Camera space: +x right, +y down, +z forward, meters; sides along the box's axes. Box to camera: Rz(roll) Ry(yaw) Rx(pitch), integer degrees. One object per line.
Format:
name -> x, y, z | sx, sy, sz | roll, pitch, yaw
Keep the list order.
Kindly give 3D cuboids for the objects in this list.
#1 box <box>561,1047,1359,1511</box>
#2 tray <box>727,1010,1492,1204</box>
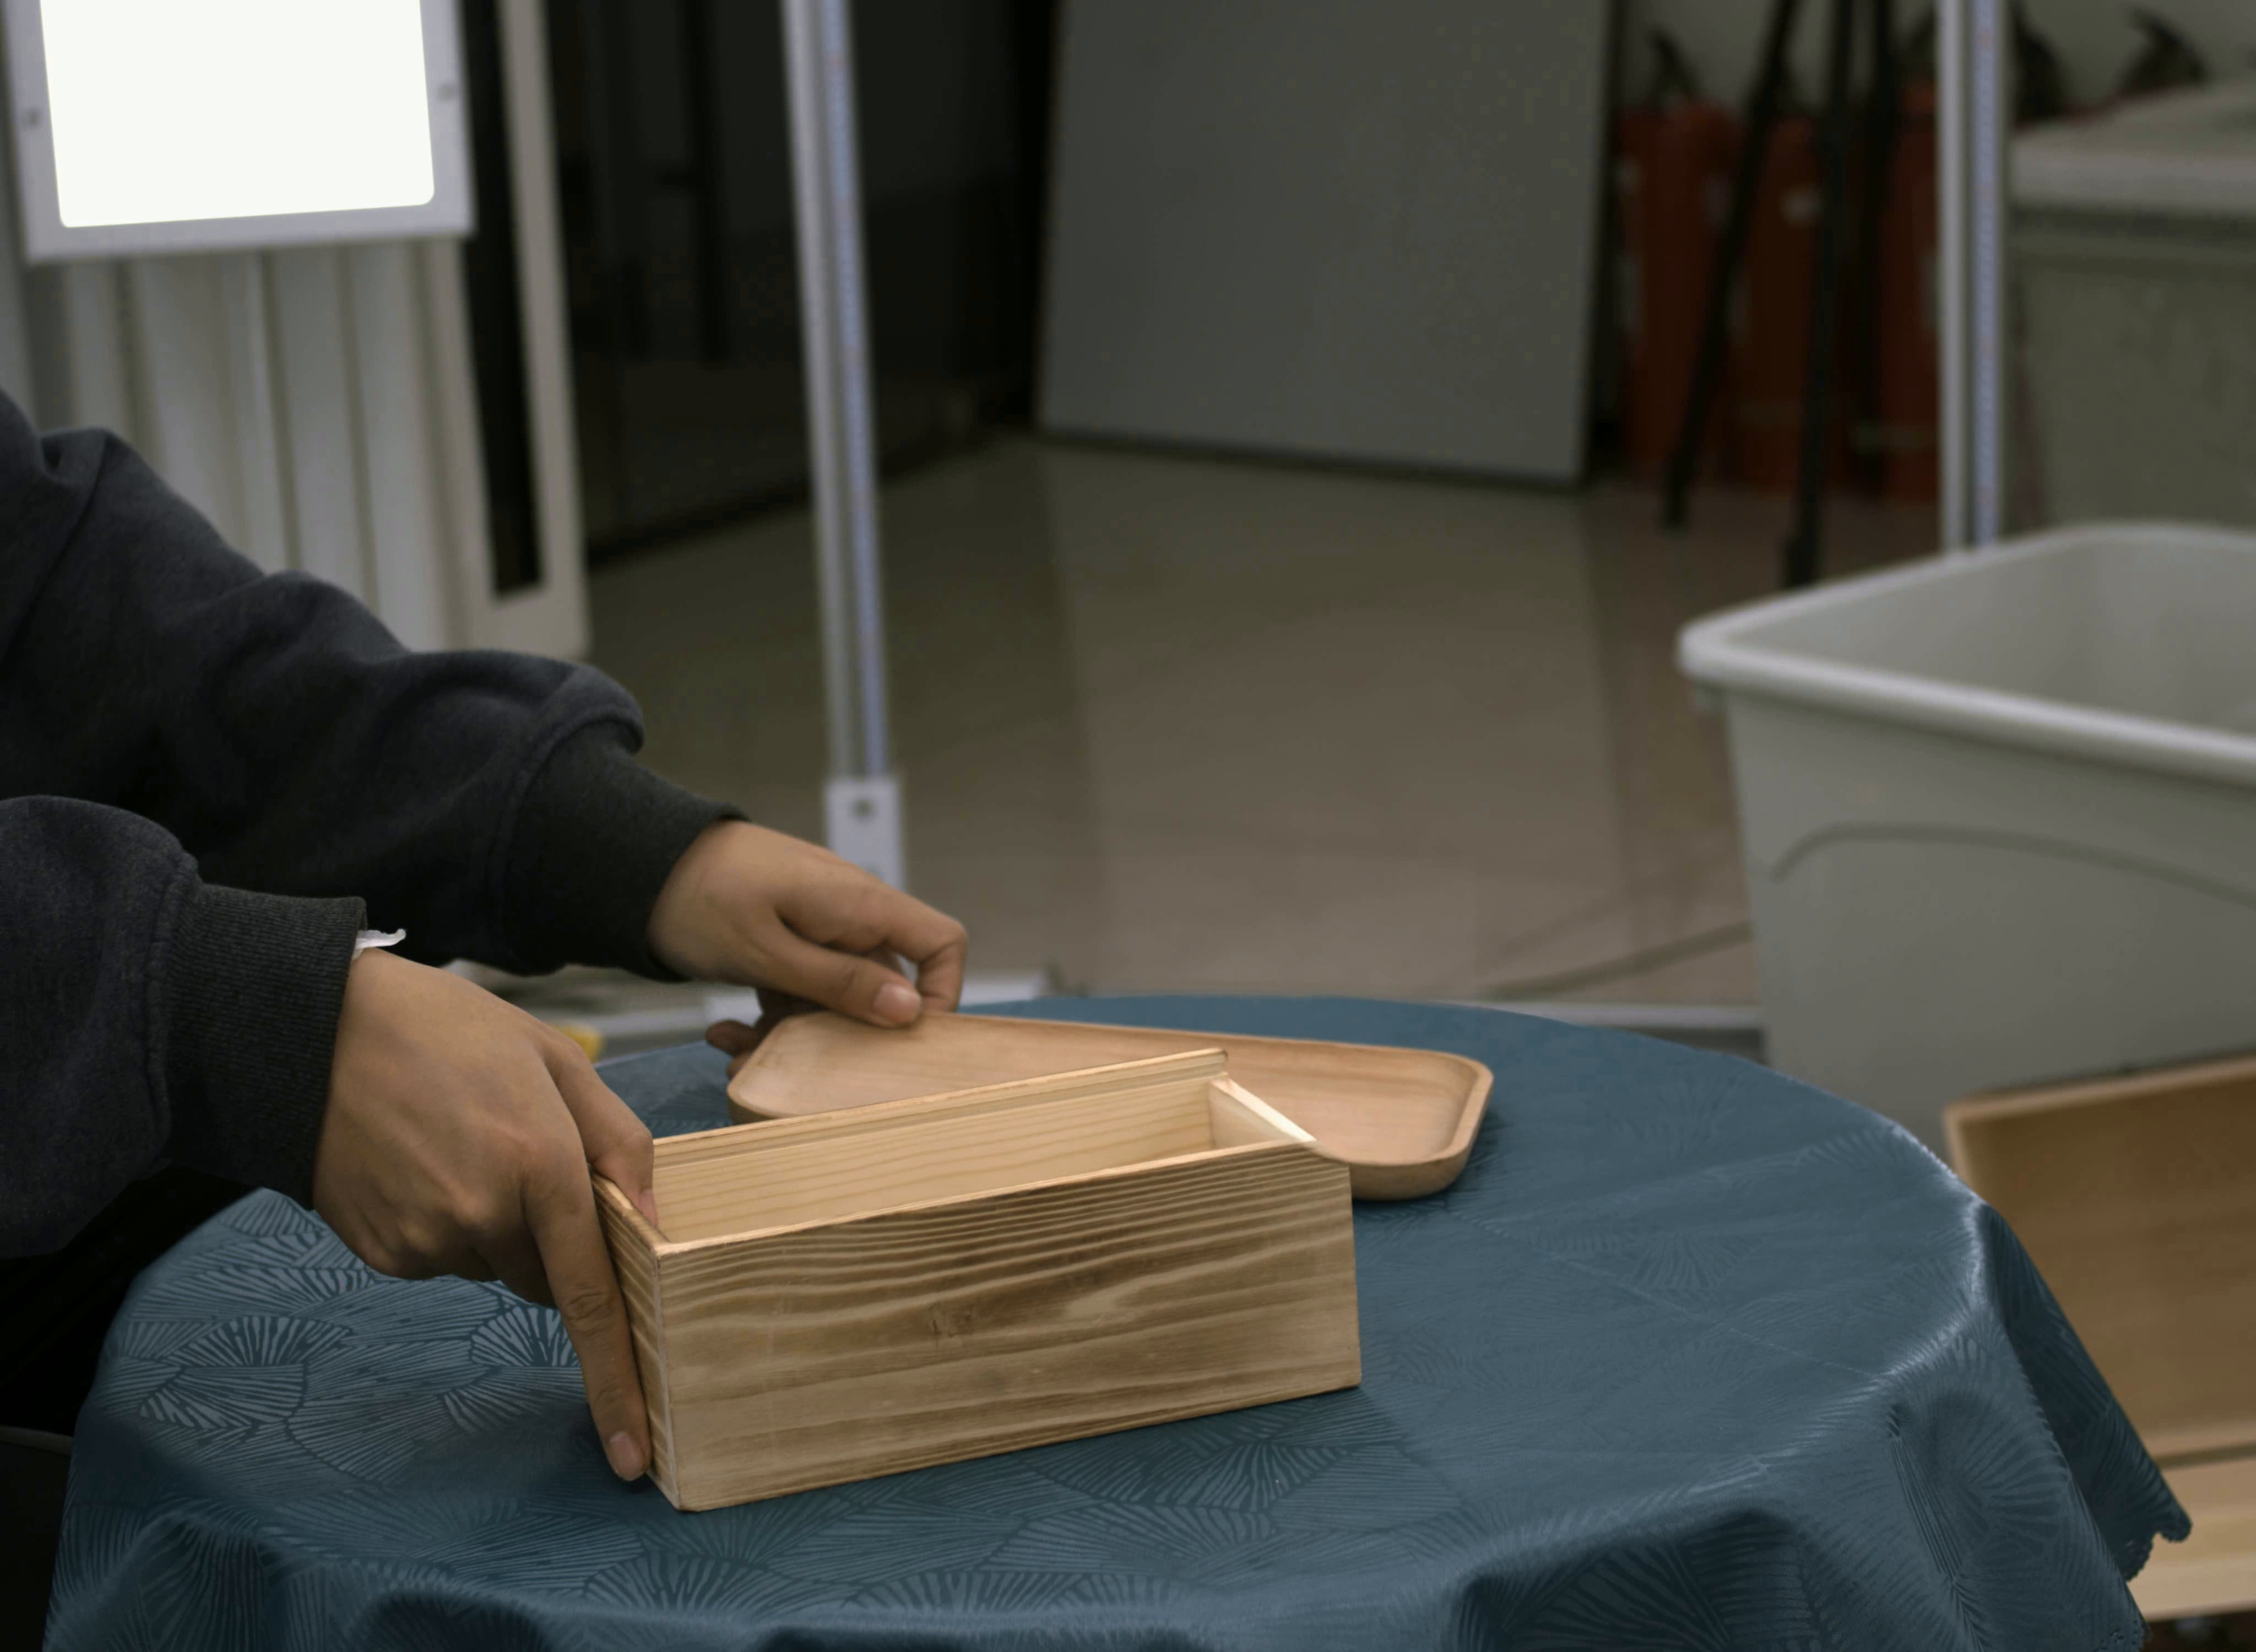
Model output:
box -> -0.049, 0.130, 1.579 | 0.207, 0.081, 0.108 | -9, 14, -17
tray -> -0.005, 0.093, 1.806 | 0.249, 0.023, 0.130 | 3, 12, 12
